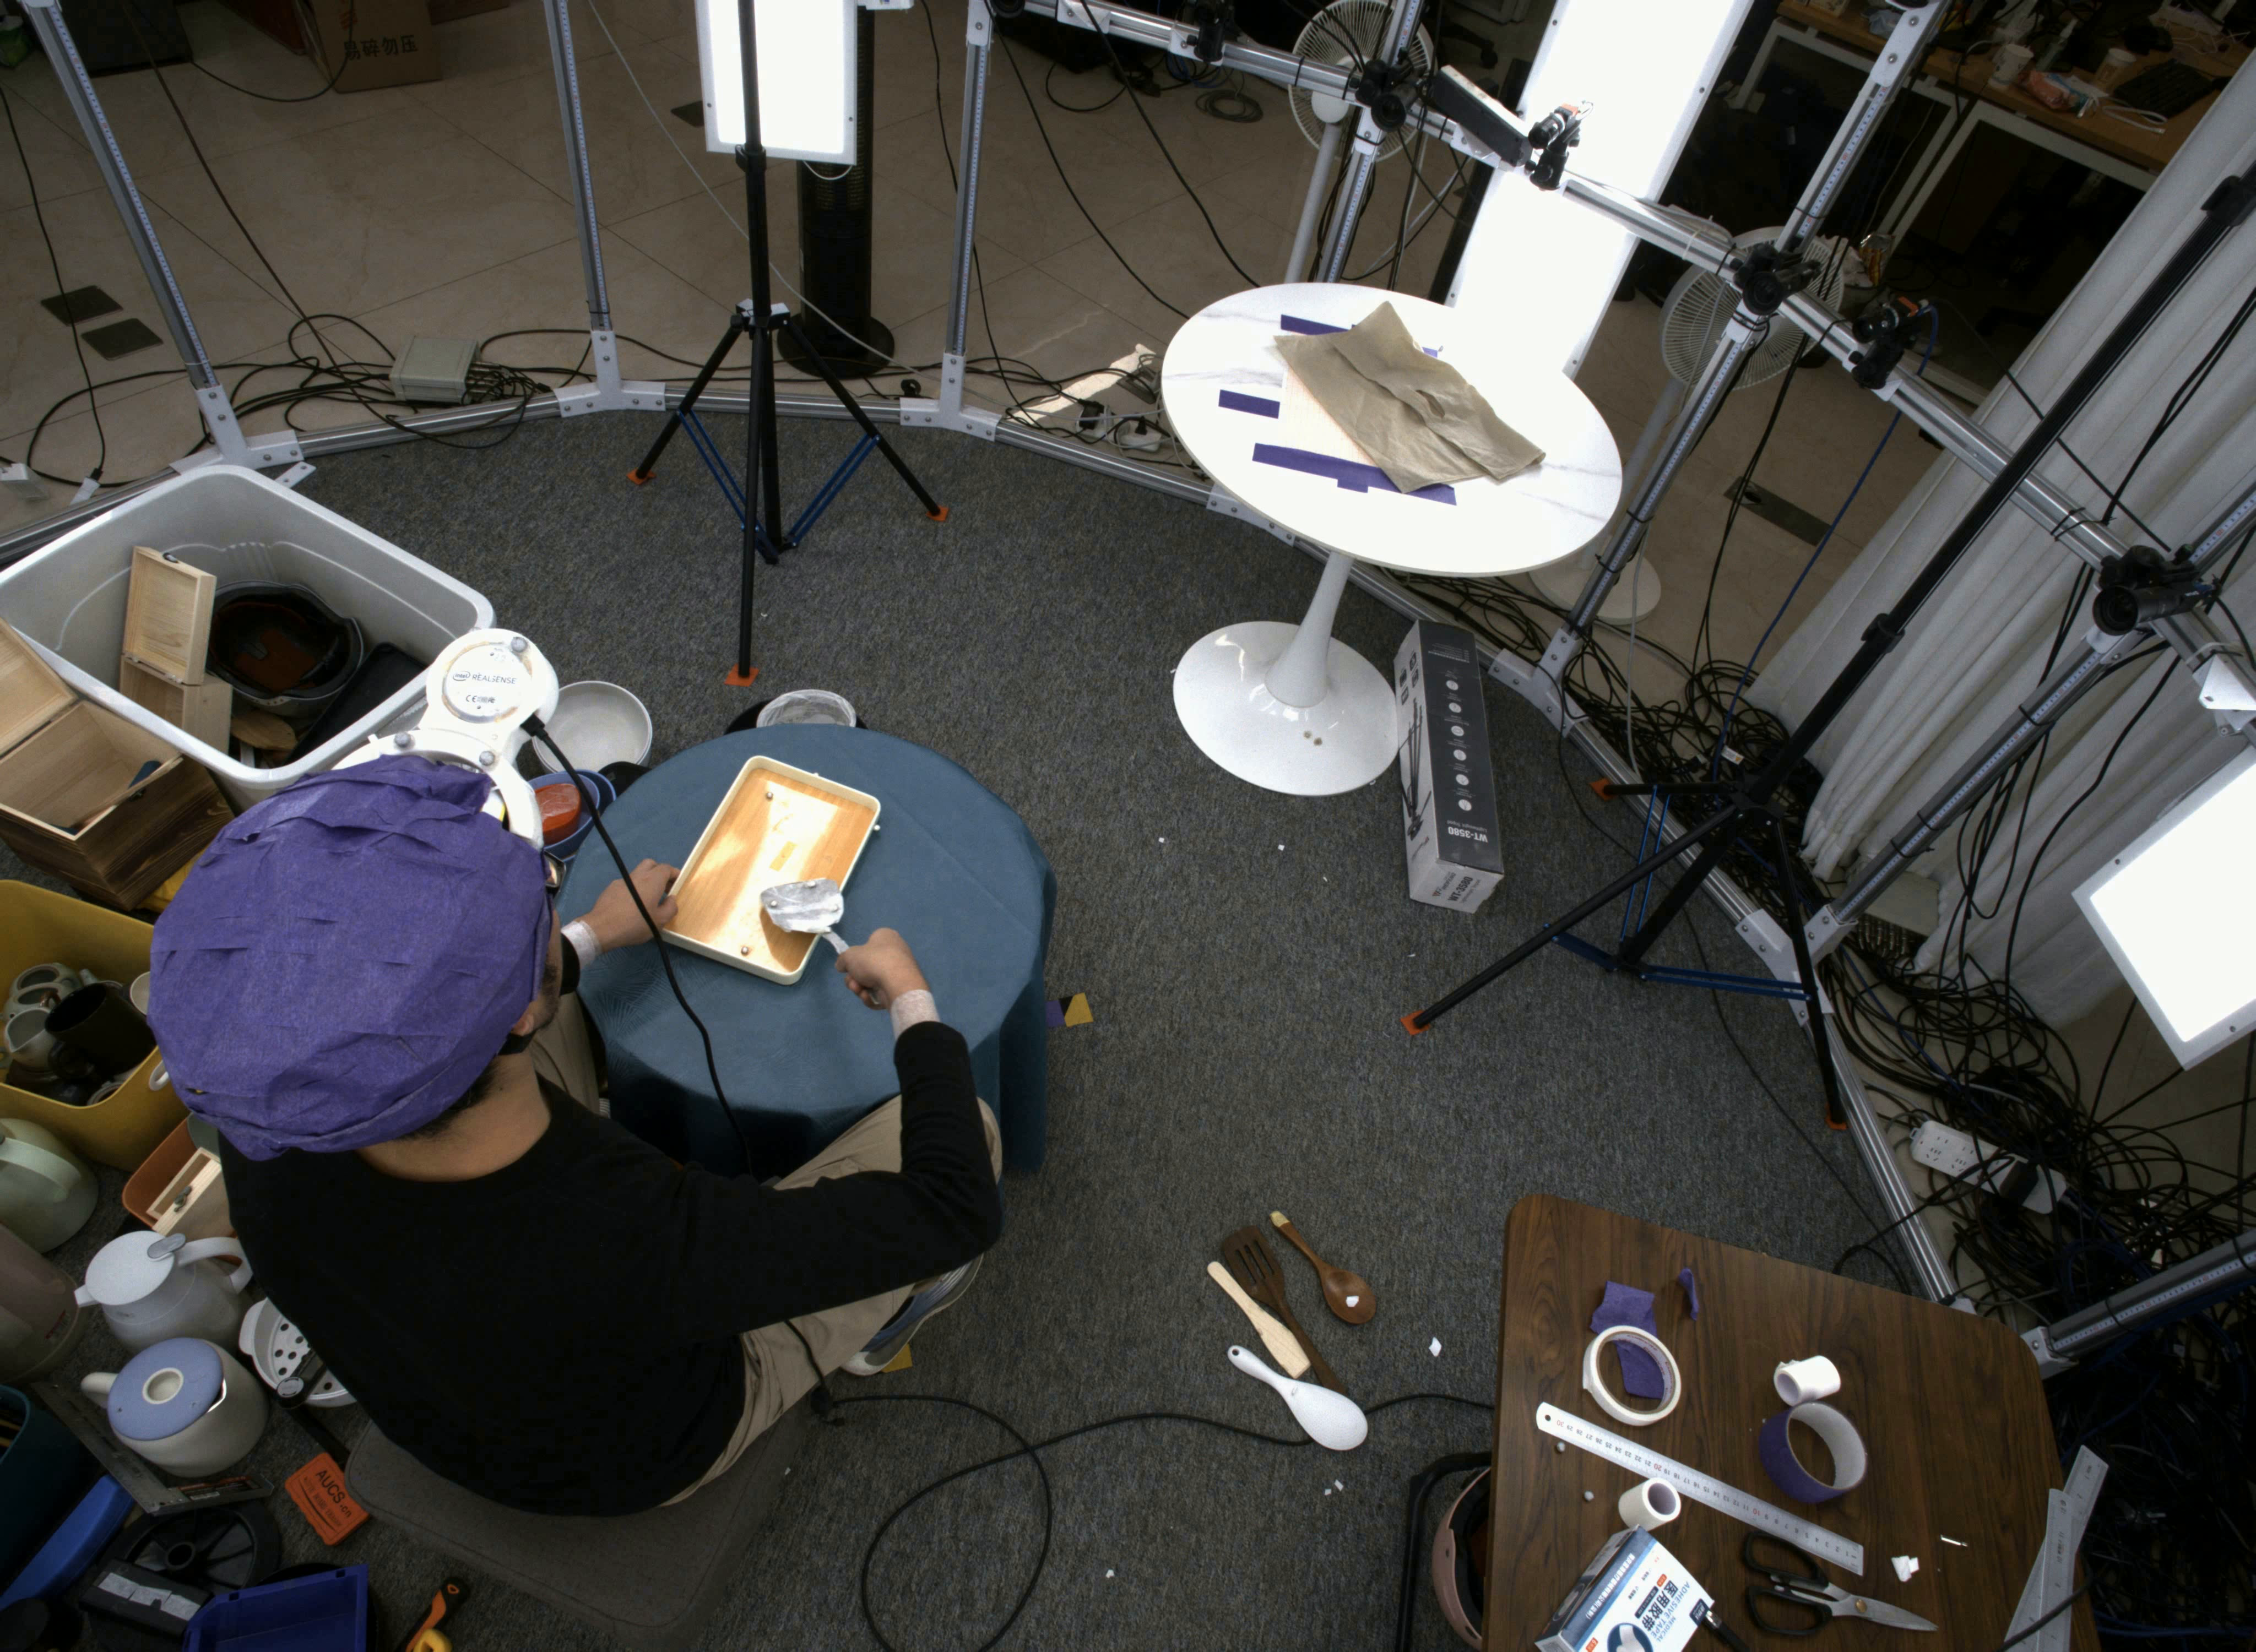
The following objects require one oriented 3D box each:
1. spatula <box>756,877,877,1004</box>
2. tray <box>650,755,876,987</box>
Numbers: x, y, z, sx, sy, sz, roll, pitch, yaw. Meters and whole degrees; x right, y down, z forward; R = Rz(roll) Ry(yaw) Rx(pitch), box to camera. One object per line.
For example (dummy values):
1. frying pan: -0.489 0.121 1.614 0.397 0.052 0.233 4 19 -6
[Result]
1. spatula: -0.343 0.123 1.486 0.099 0.046 0.353 -8 15 -27
2. tray: -0.459 0.049 1.646 0.191 0.028 0.297 21 51 -4
